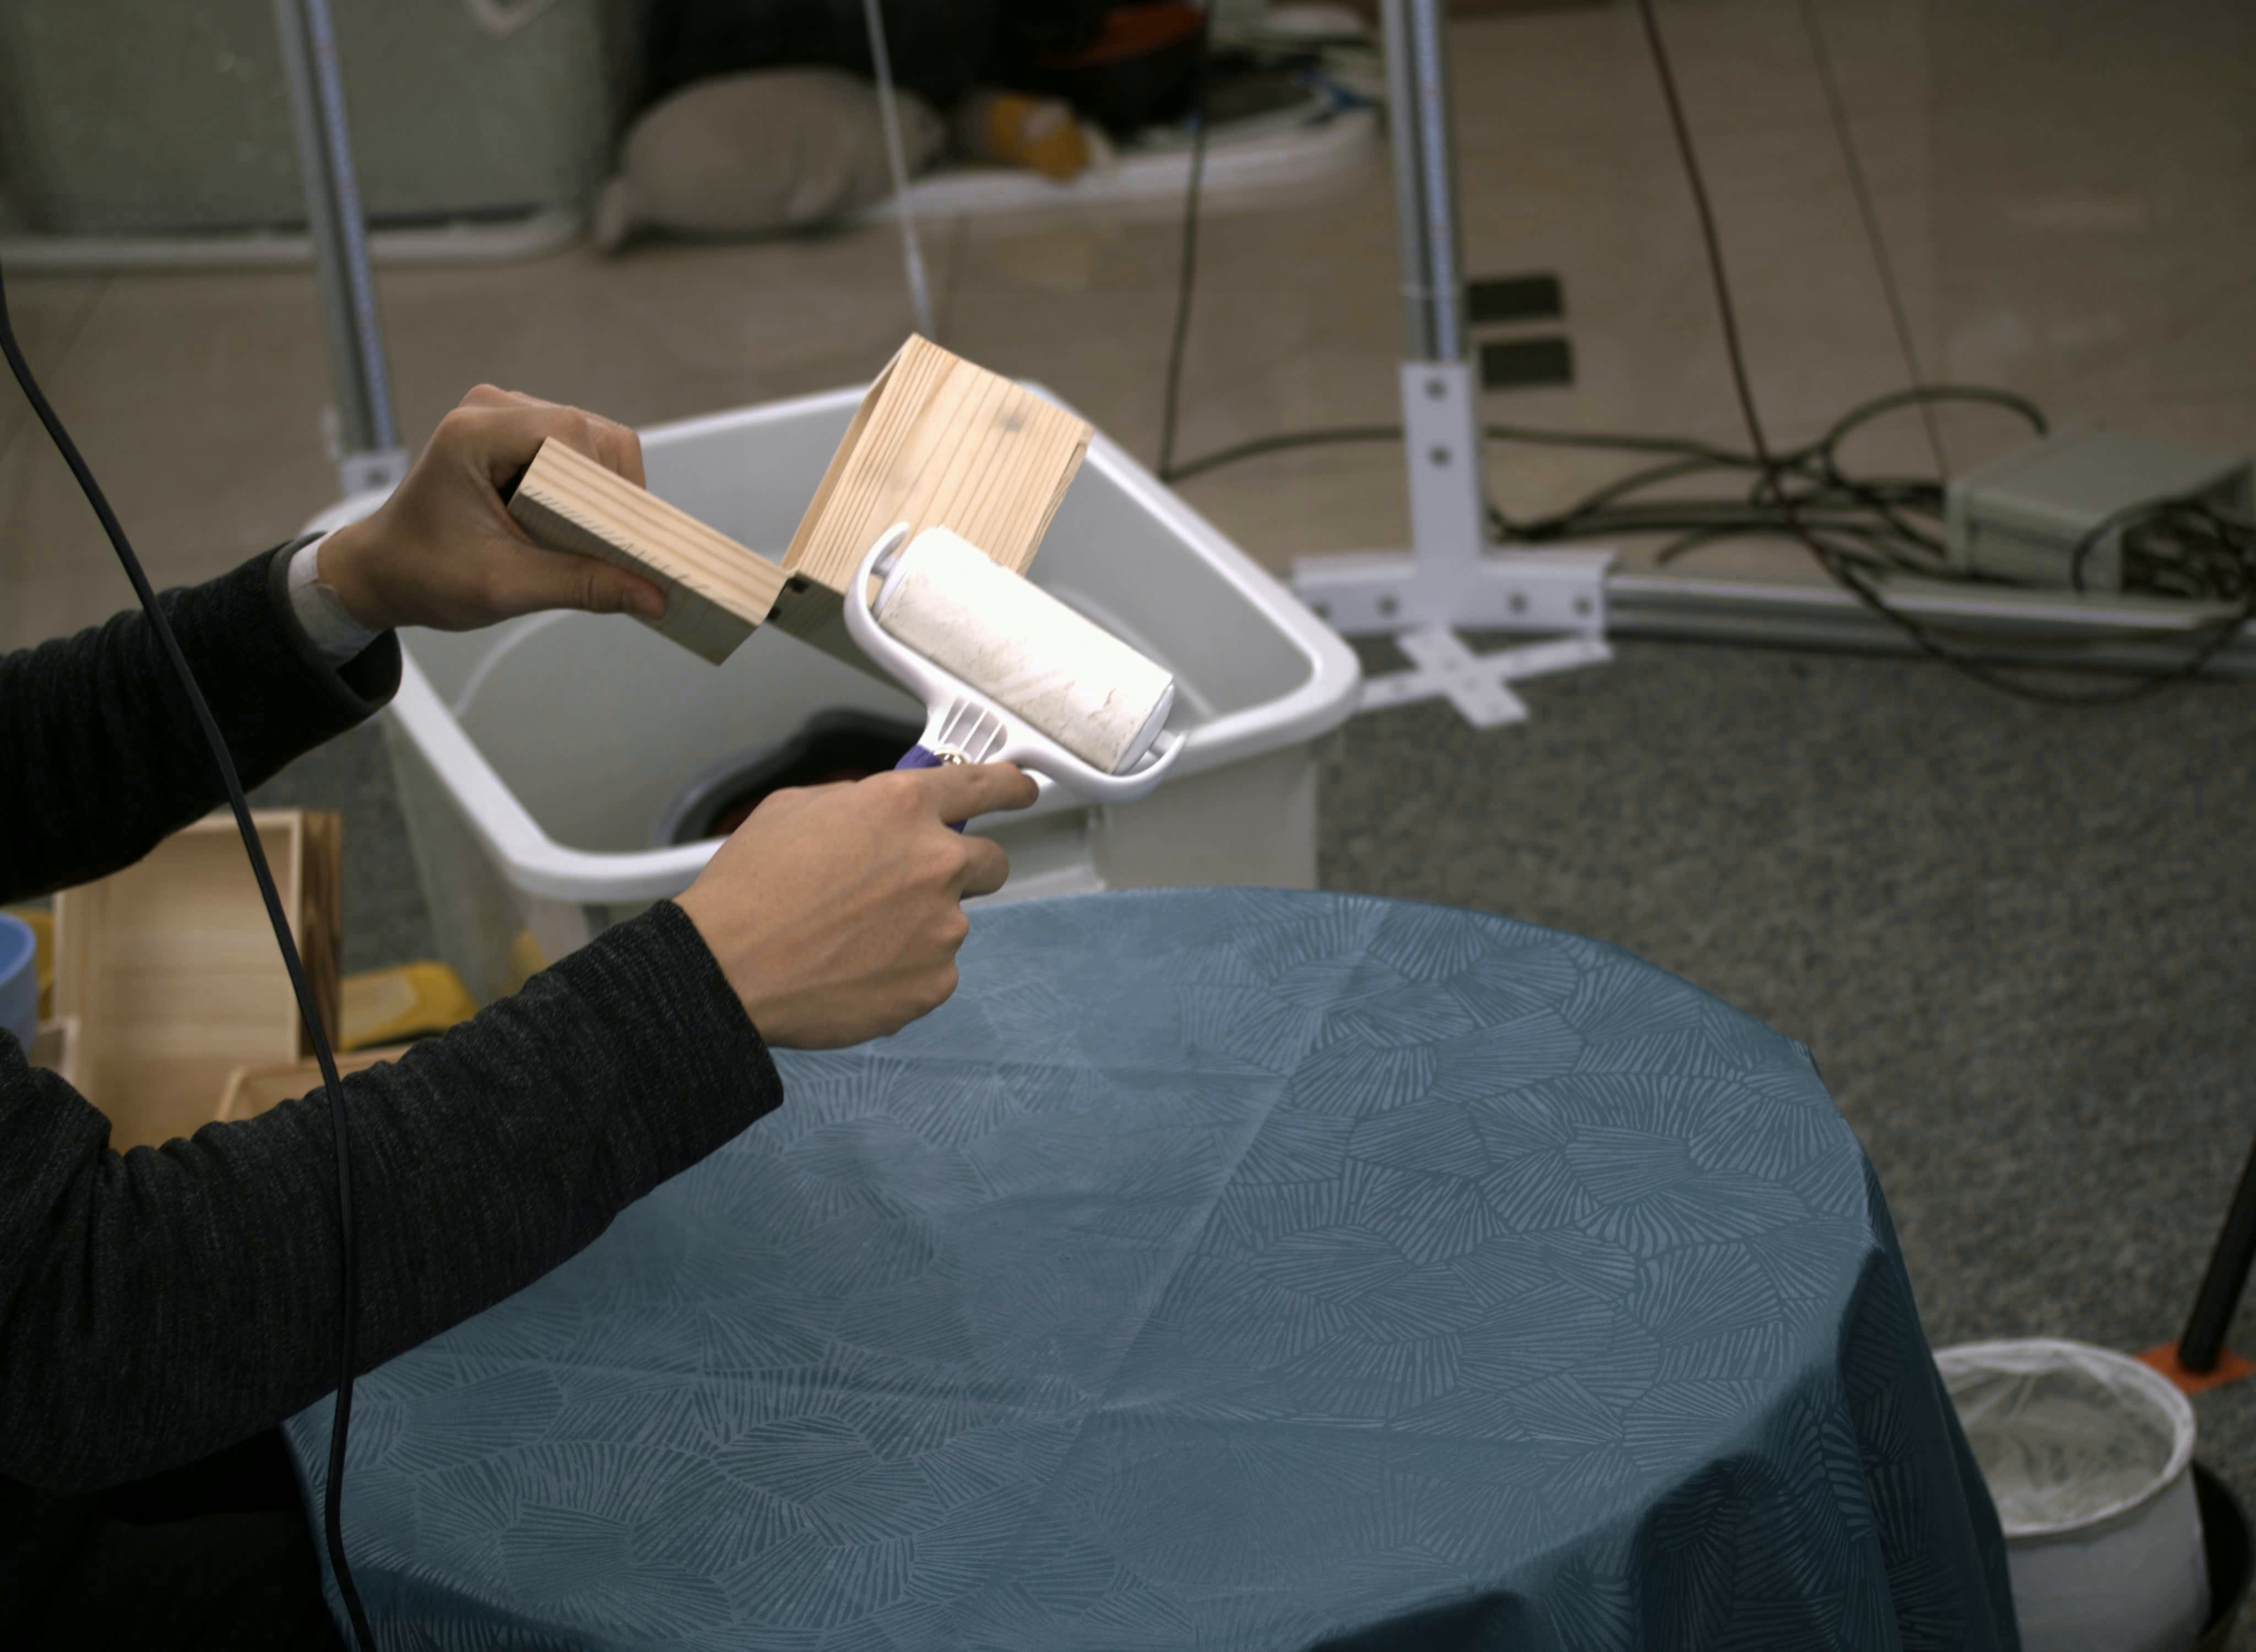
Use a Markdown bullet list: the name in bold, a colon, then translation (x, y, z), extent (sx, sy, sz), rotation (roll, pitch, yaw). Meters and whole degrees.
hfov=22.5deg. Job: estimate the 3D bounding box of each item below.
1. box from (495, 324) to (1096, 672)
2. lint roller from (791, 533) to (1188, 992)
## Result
- **box**: translation (-0.126, -0.133, 2.113), extent (0.185, 0.133, 0.103), rotation (26, -11, -8)
- **lint roller**: translation (-0.067, -0.016, 1.967), extent (0.133, 0.051, 0.178), rotation (35, 50, -1)
